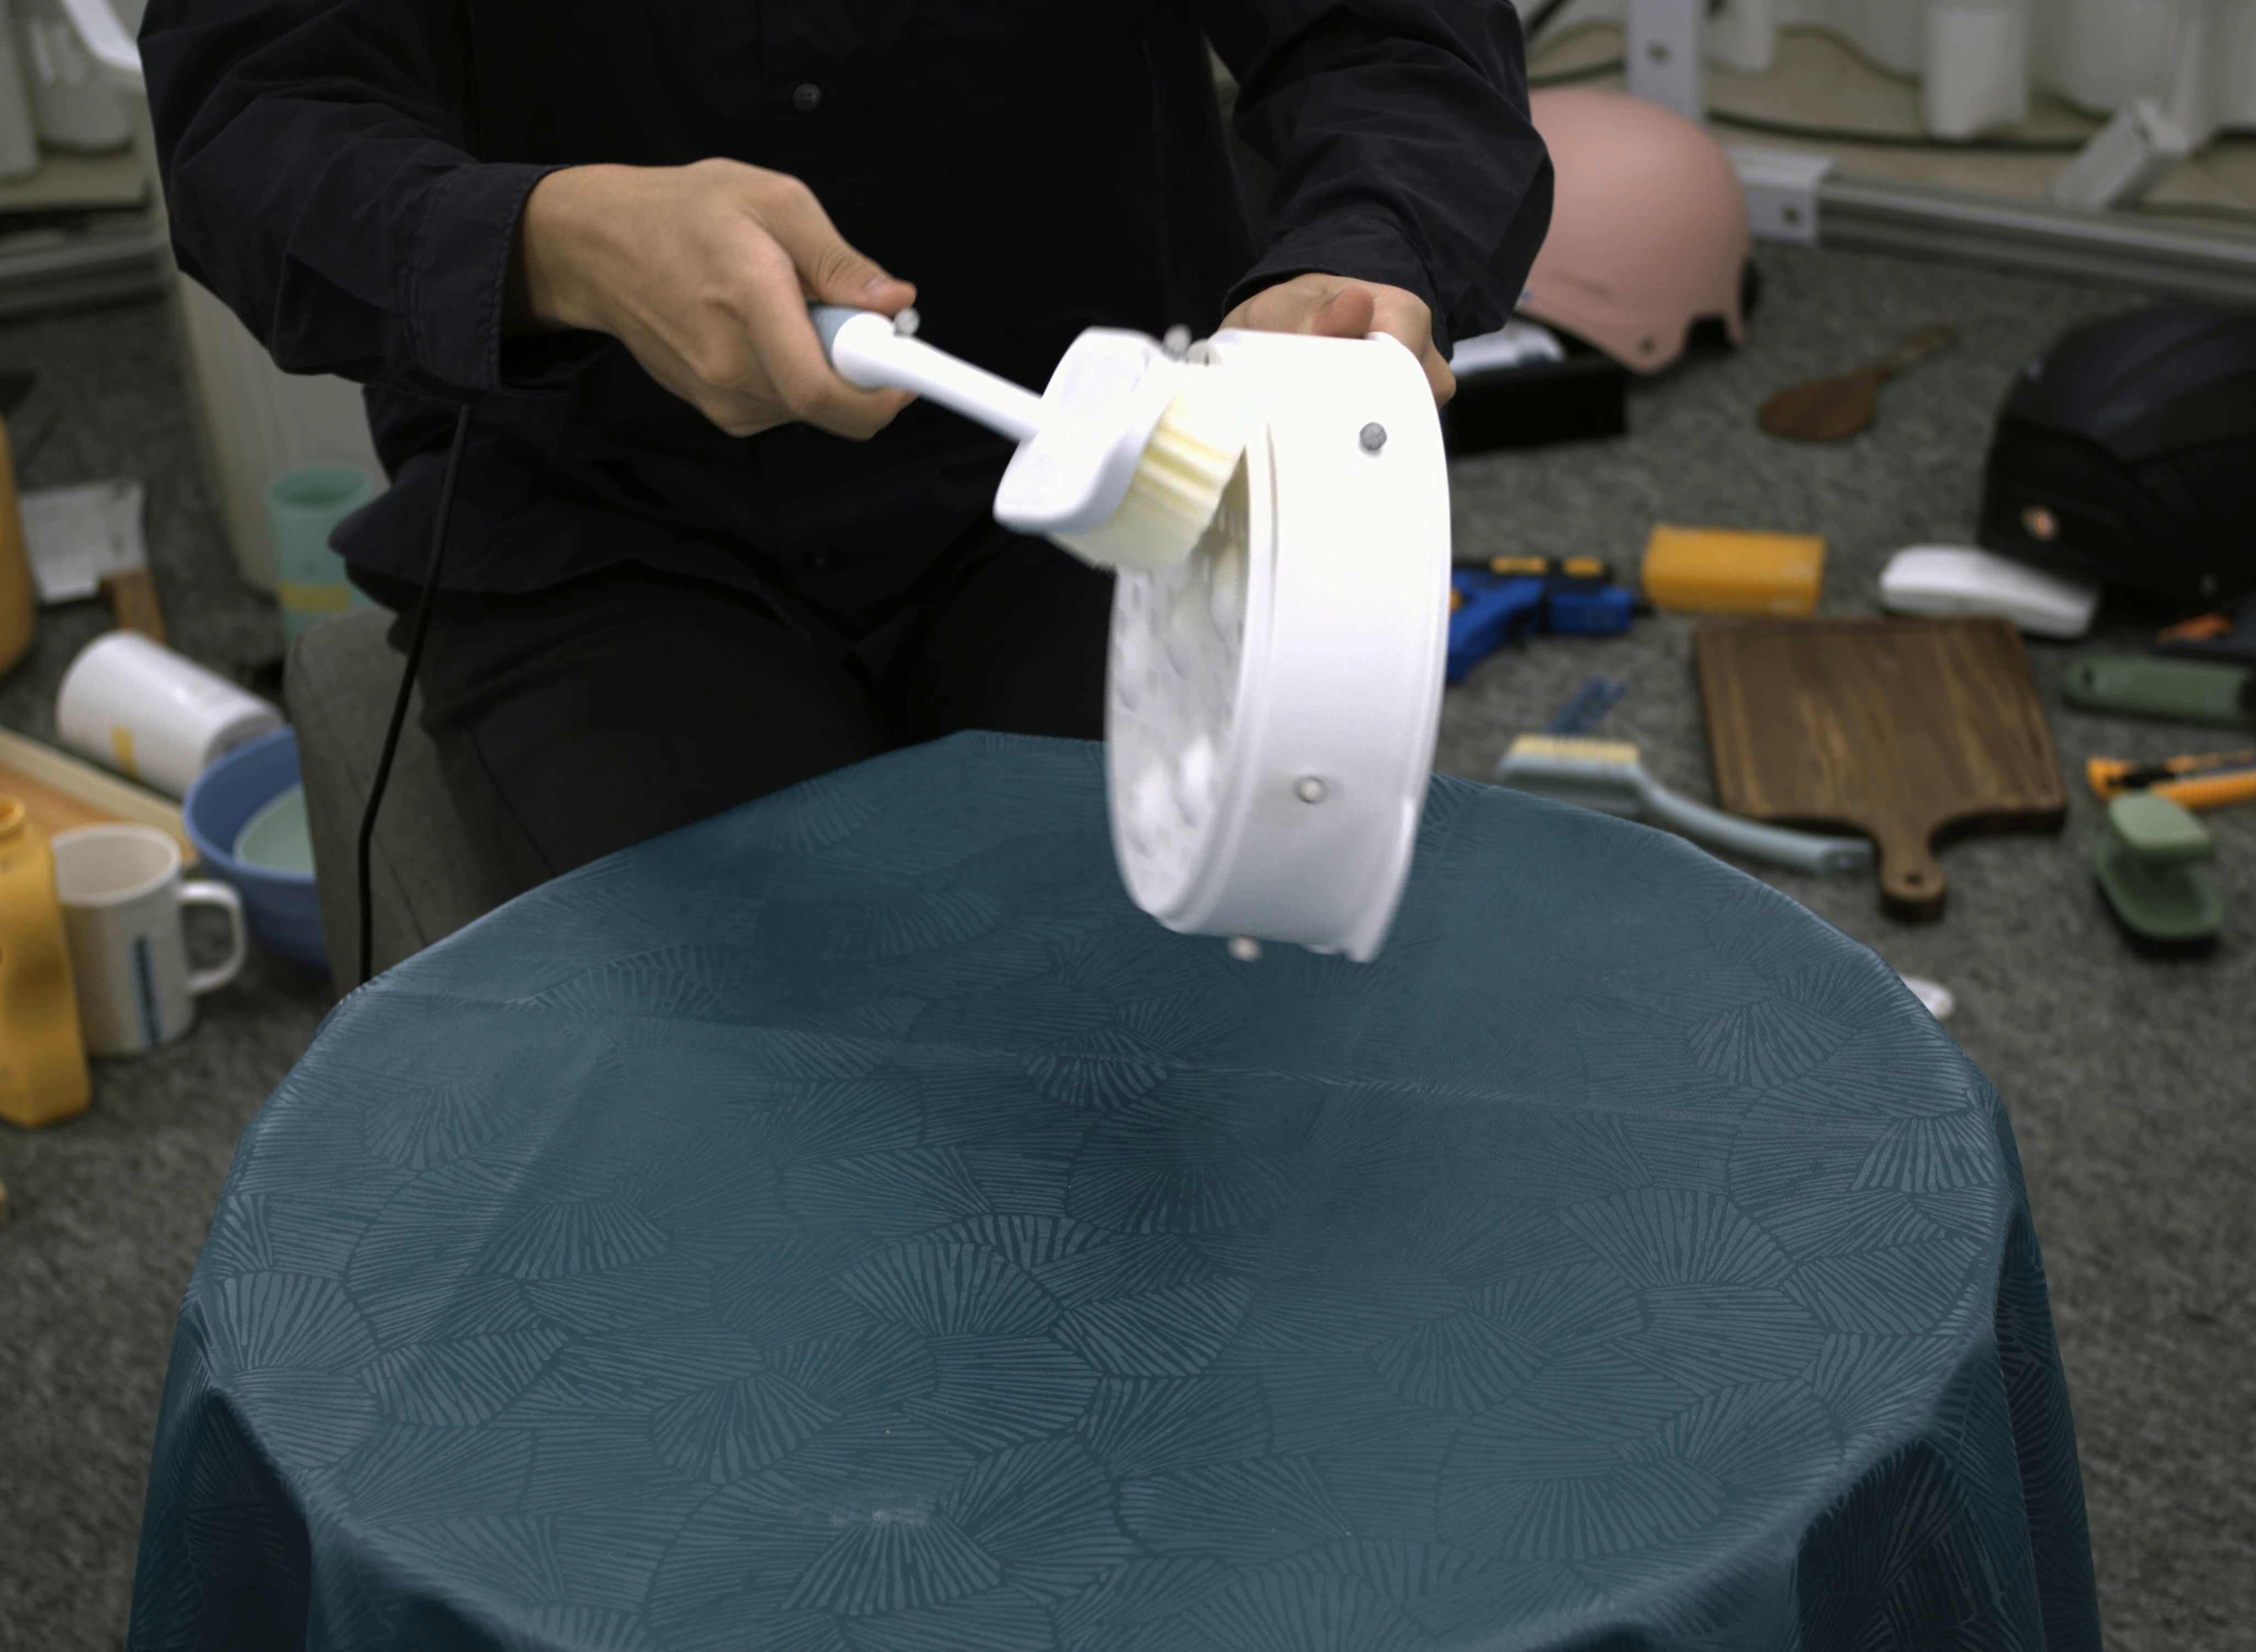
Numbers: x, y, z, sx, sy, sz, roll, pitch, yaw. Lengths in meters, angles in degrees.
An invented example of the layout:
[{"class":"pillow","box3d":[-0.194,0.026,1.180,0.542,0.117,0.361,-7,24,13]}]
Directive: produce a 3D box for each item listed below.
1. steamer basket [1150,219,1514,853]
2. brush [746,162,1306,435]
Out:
[{"class":"steamer basket","box3d":[0.060,-0.096,1.813,0.069,0.198,0.235,6,48,-15]},{"class":"brush","box3d":[-0.023,-0.181,1.846,0.084,0.084,0.325,-33,23,-18]}]
